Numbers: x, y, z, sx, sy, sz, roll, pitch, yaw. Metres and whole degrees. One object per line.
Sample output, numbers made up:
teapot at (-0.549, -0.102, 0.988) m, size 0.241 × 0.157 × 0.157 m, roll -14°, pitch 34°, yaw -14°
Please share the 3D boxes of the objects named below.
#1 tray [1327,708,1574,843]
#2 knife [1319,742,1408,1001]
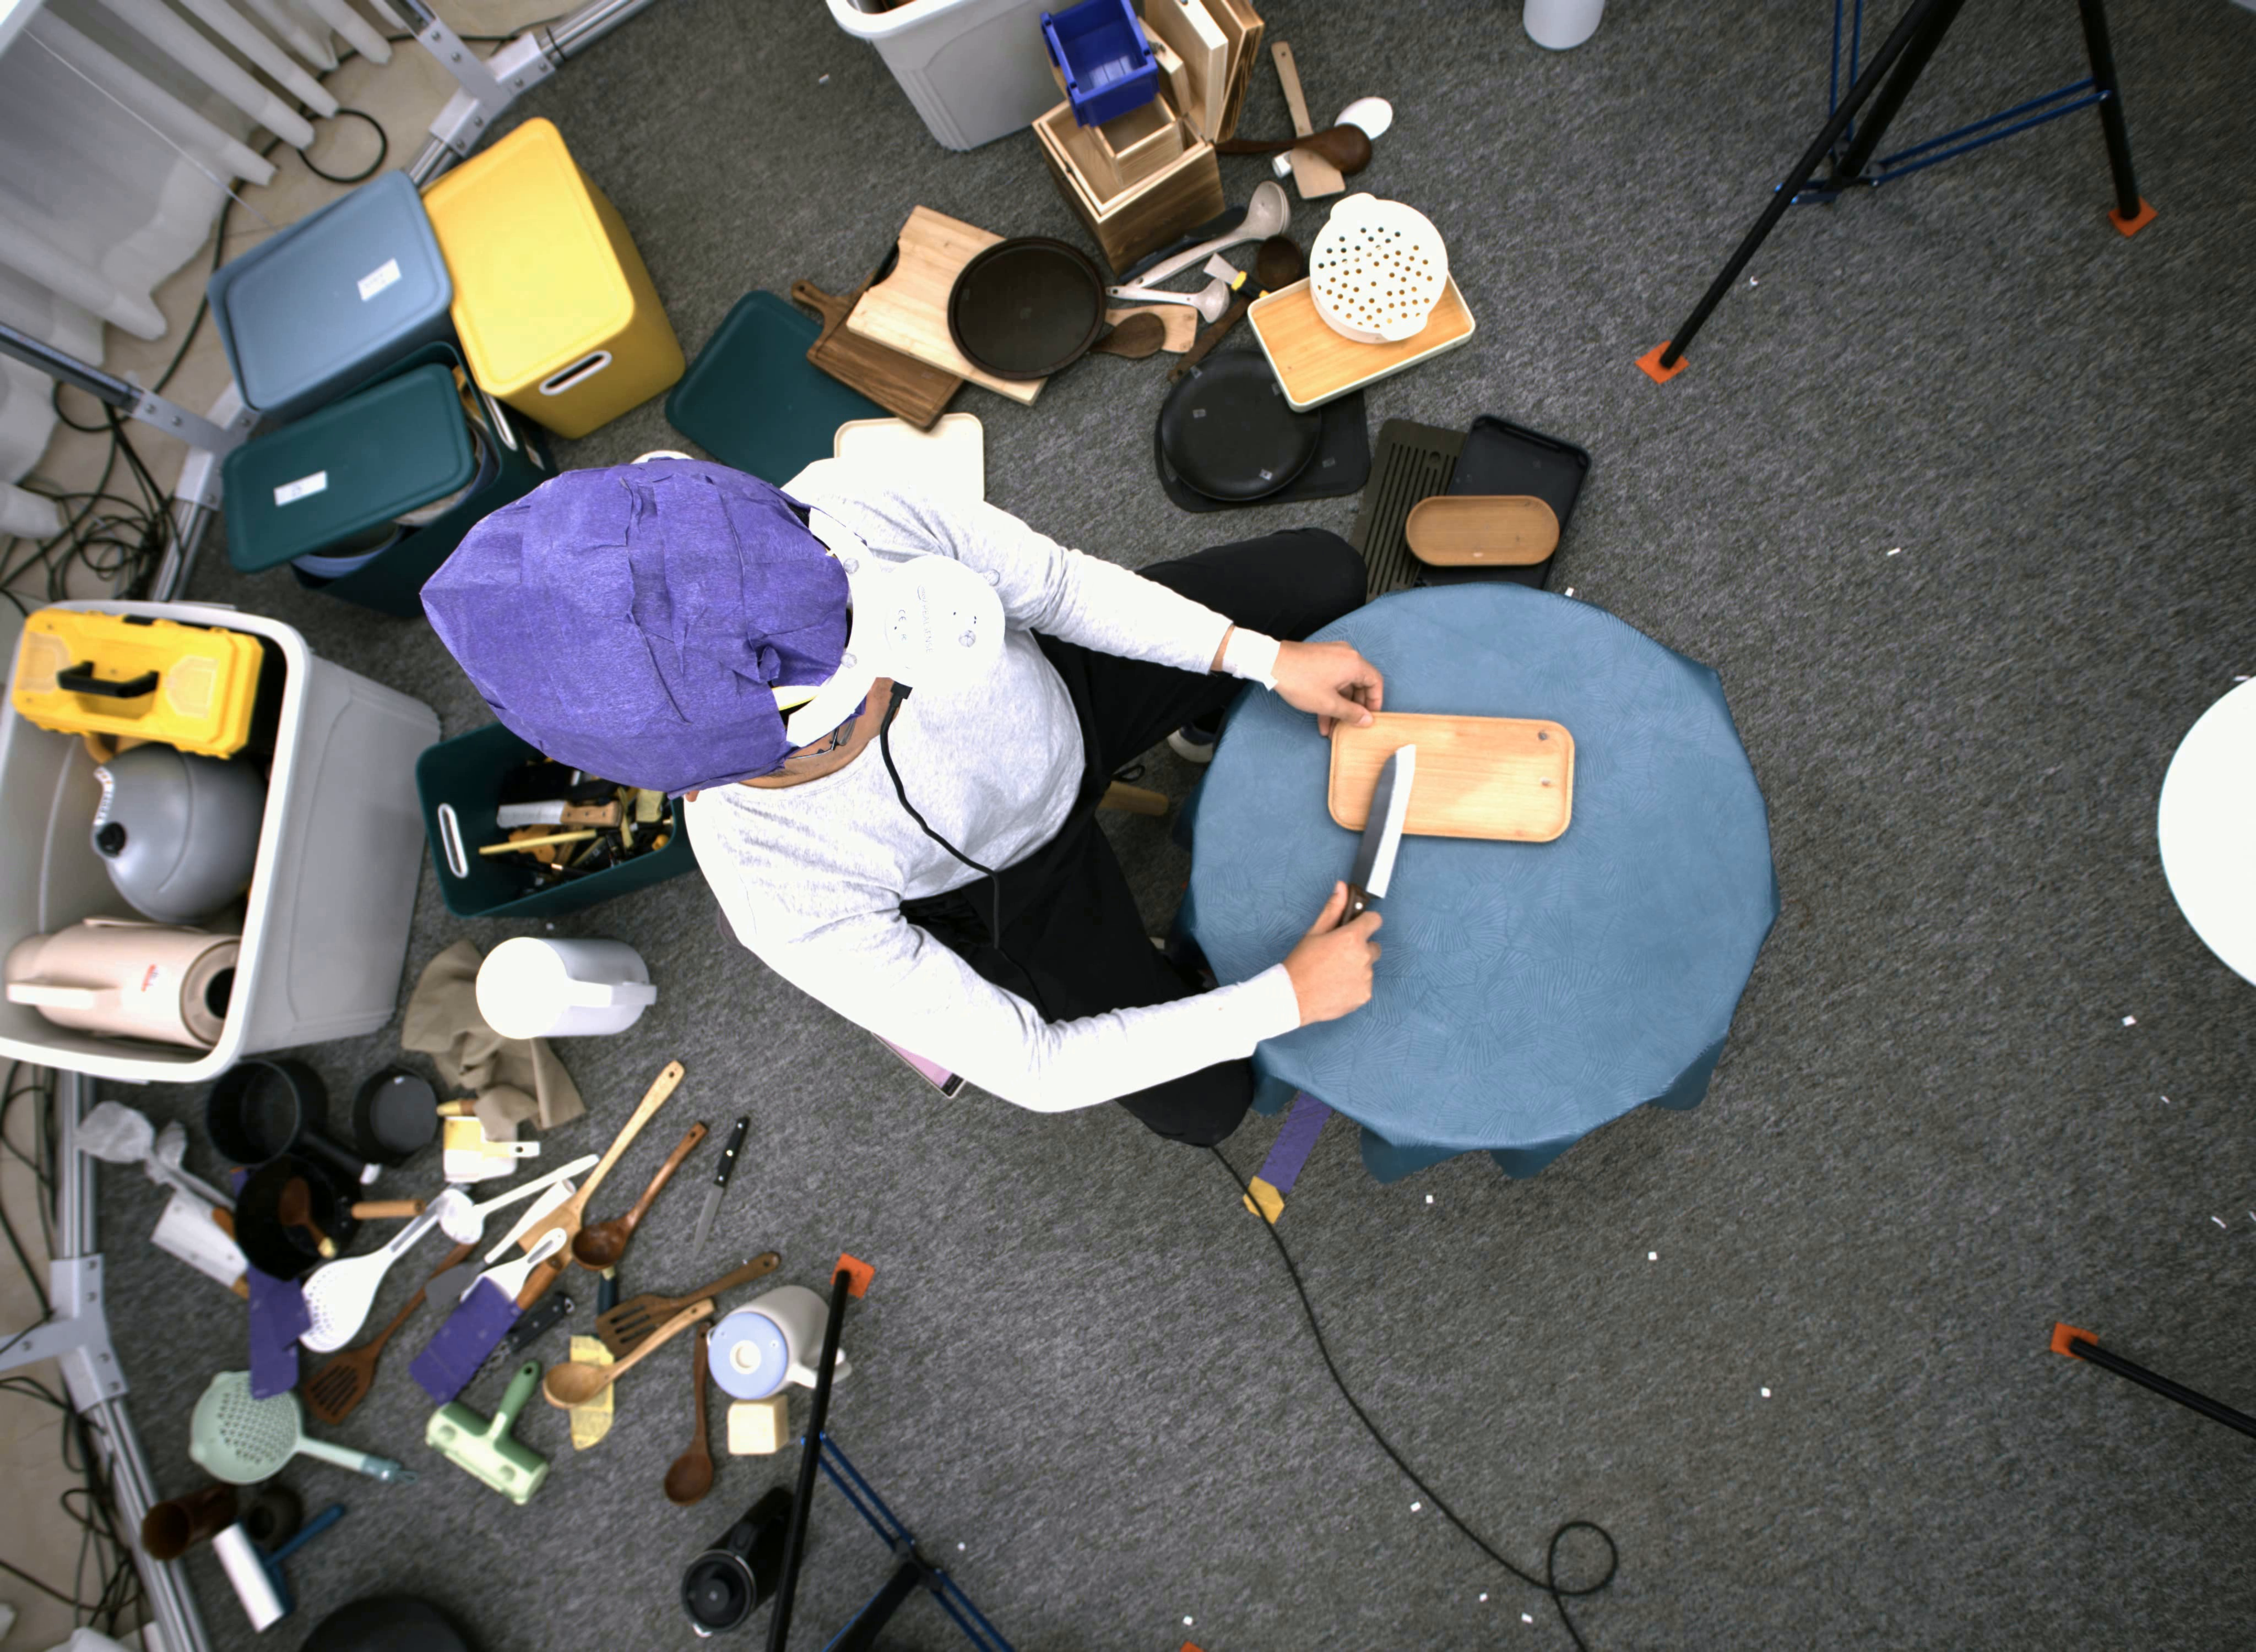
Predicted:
tray at (0.337, -0.055, 1.442) m, size 0.251 × 0.023 × 0.130 m, roll 5°, pitch 88°, yaw 10°
knife at (0.246, 0.045, 1.430) m, size 0.050 × 0.020 × 0.287 m, roll 21°, pitch 83°, yaw -24°
